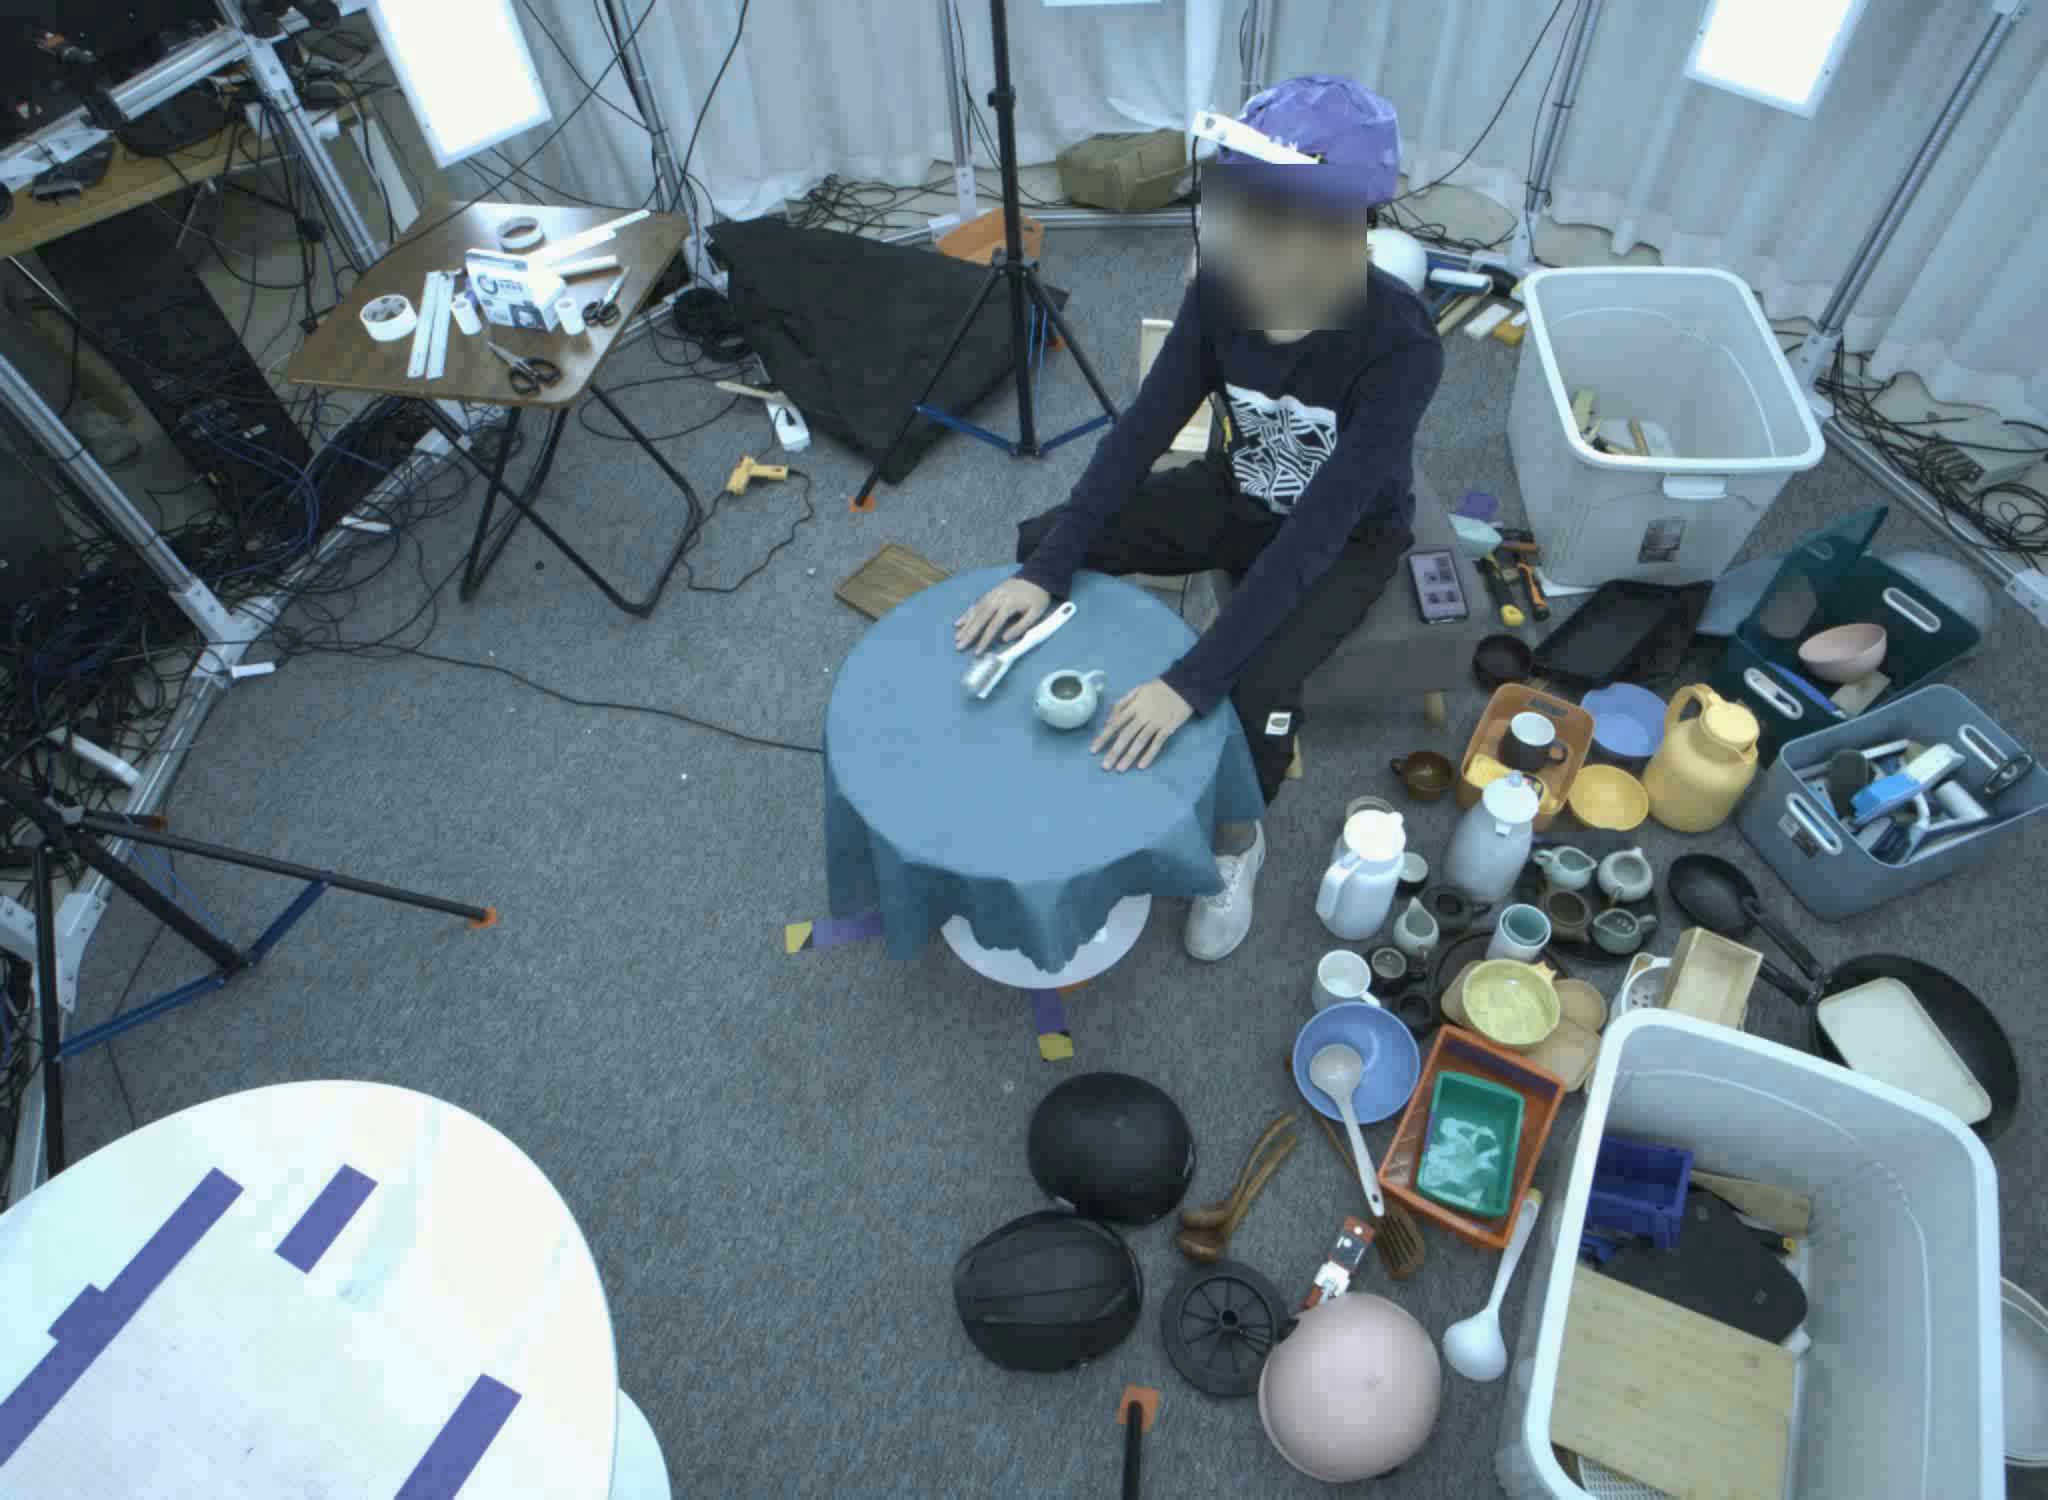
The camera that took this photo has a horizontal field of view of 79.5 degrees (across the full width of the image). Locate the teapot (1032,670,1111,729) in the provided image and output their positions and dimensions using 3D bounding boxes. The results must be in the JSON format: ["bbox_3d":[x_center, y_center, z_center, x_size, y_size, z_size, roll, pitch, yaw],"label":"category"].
[{"bbox_3d":[0.070,-0.077,1.797,0.129,0.062,0.089,-25,52,-15],"label":"teapot"}]

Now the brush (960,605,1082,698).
[{"bbox_3d":[-0.001,-0.163,1.867,0.034,0.051,0.245,35,63,30],"label":"brush"}]
